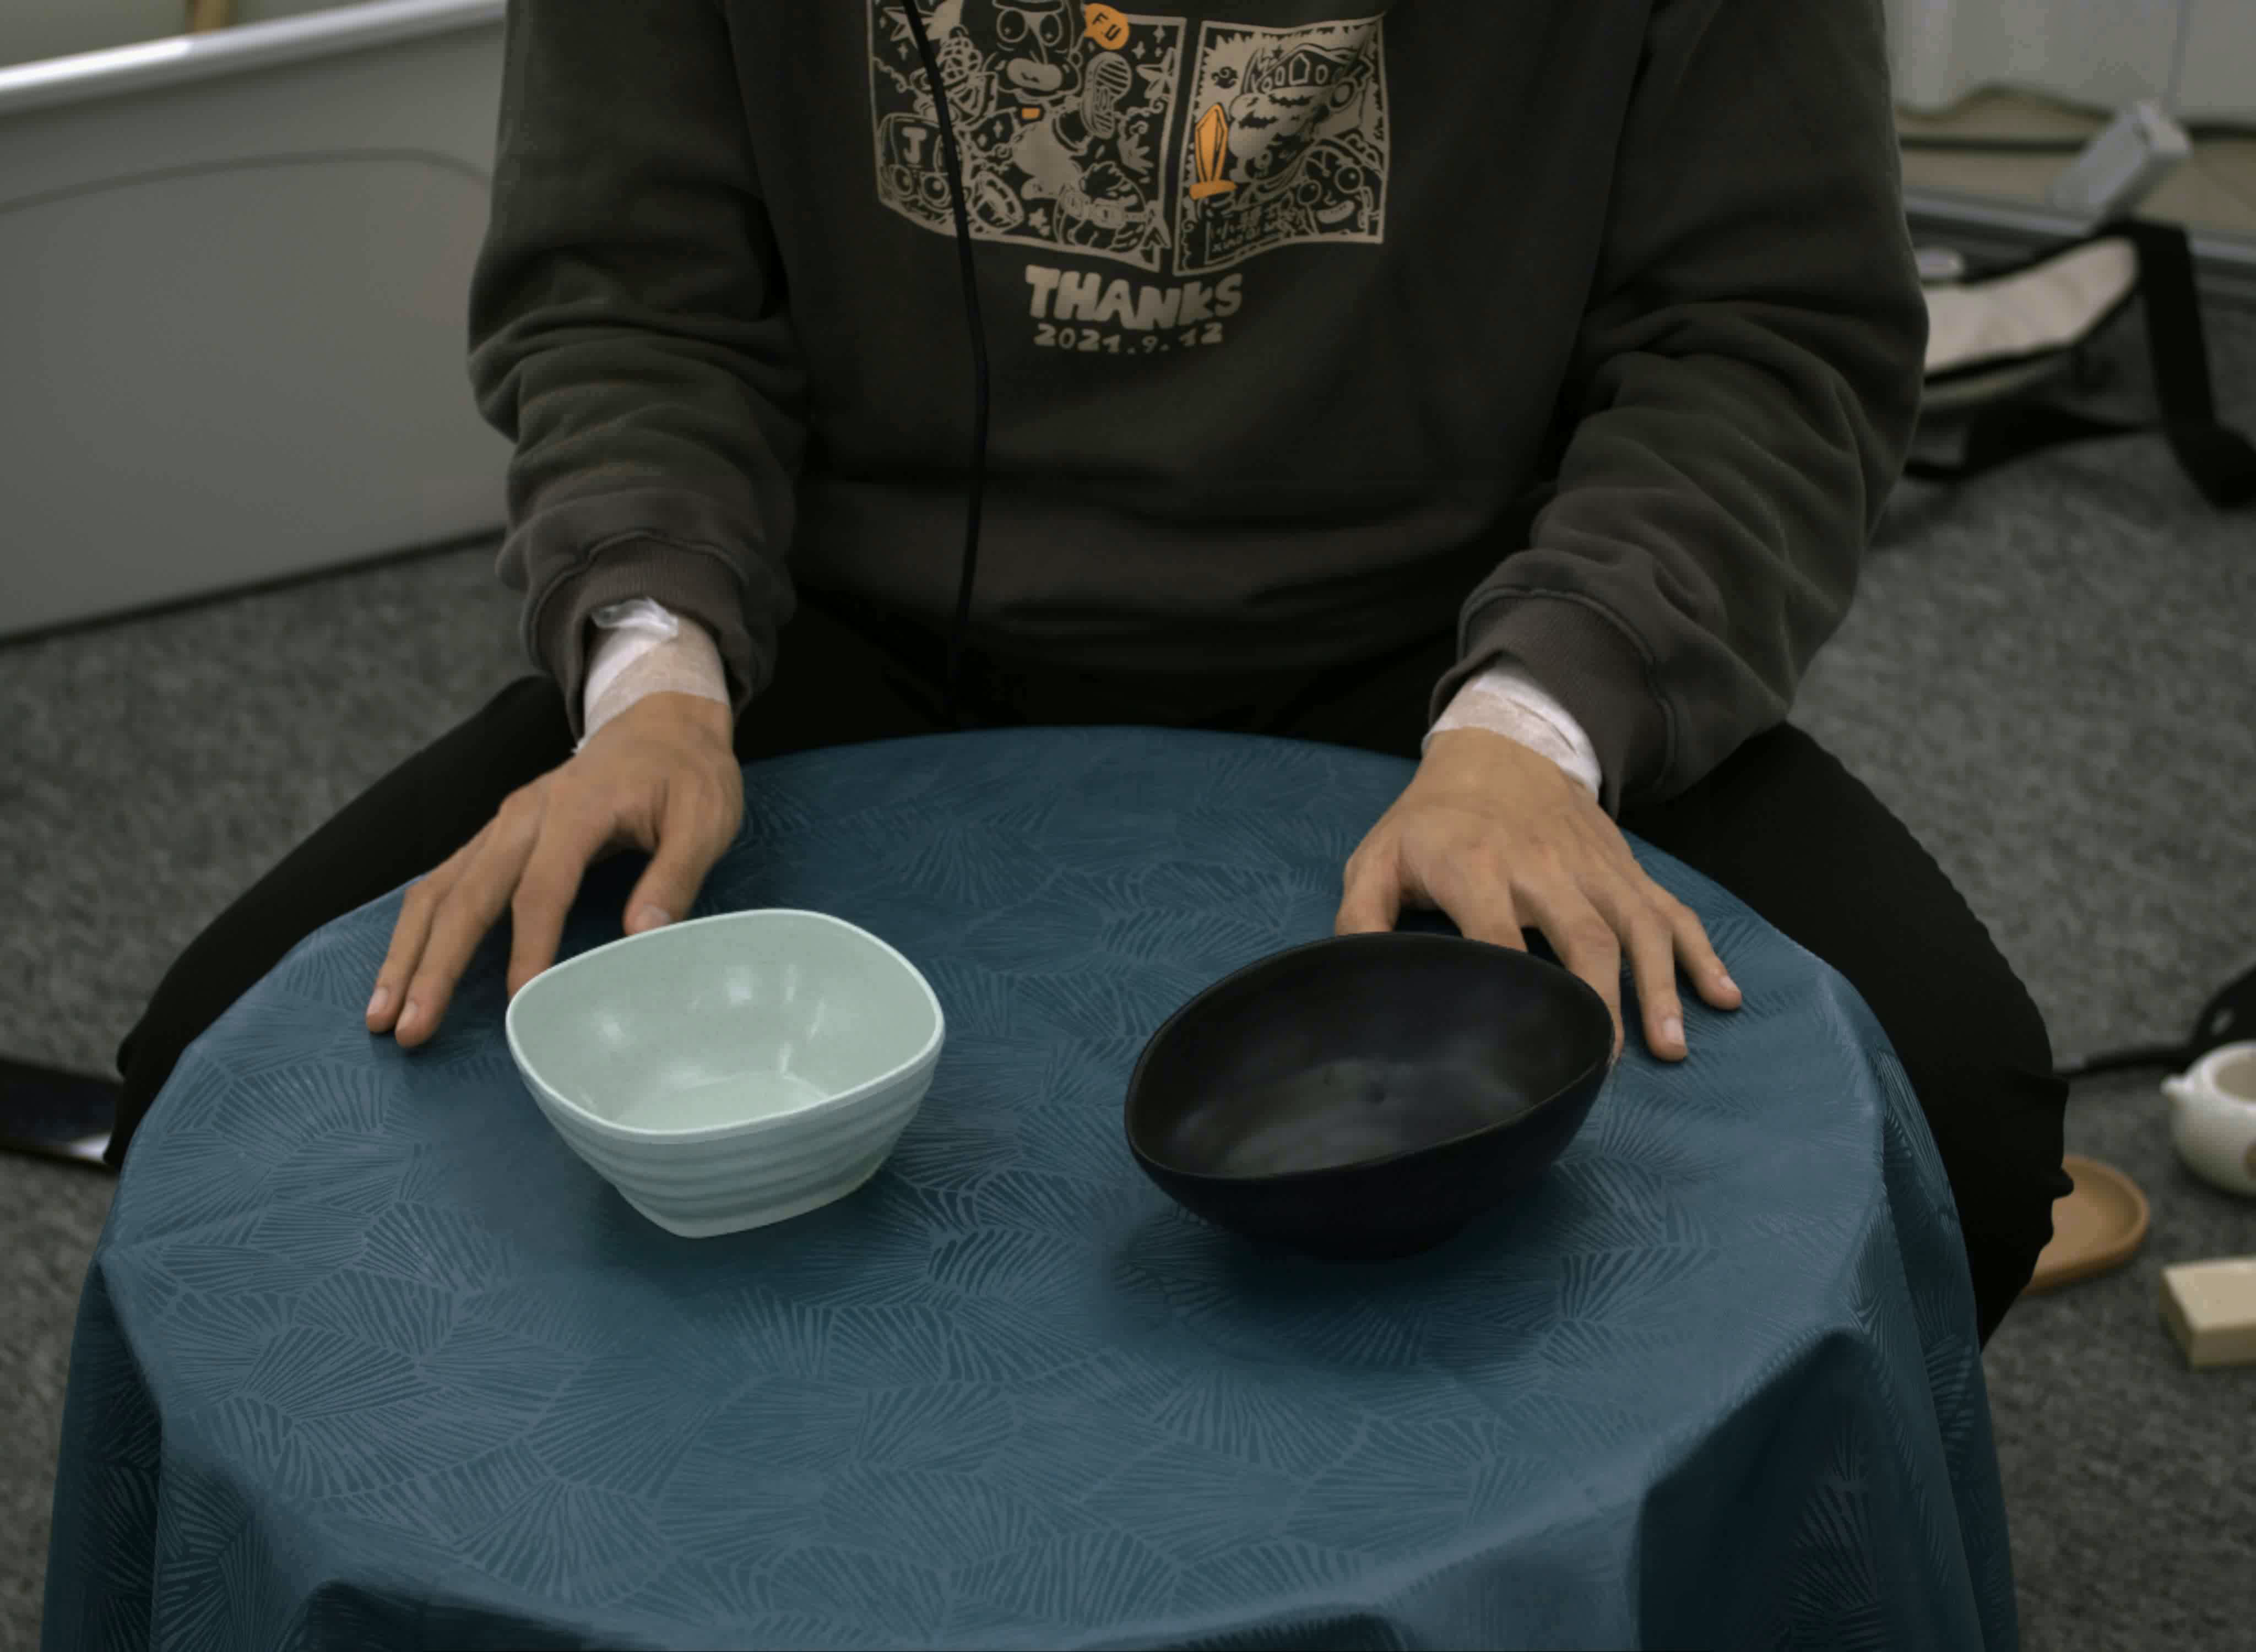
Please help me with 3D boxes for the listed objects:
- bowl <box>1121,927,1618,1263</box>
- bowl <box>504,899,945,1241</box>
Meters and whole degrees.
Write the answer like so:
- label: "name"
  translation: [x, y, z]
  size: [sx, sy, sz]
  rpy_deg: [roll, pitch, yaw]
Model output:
- label: "bowl"
  translation: [0.080, 0.098, 1.830]
  size: [0.171, 0.066, 0.138]
  rpy_deg: [-19, 31, -26]
- label: "bowl"
  translation: [-0.133, 0.088, 1.876]
  size: [0.151, 0.058, 0.154]
  rpy_deg: [-2, 30, 1]
